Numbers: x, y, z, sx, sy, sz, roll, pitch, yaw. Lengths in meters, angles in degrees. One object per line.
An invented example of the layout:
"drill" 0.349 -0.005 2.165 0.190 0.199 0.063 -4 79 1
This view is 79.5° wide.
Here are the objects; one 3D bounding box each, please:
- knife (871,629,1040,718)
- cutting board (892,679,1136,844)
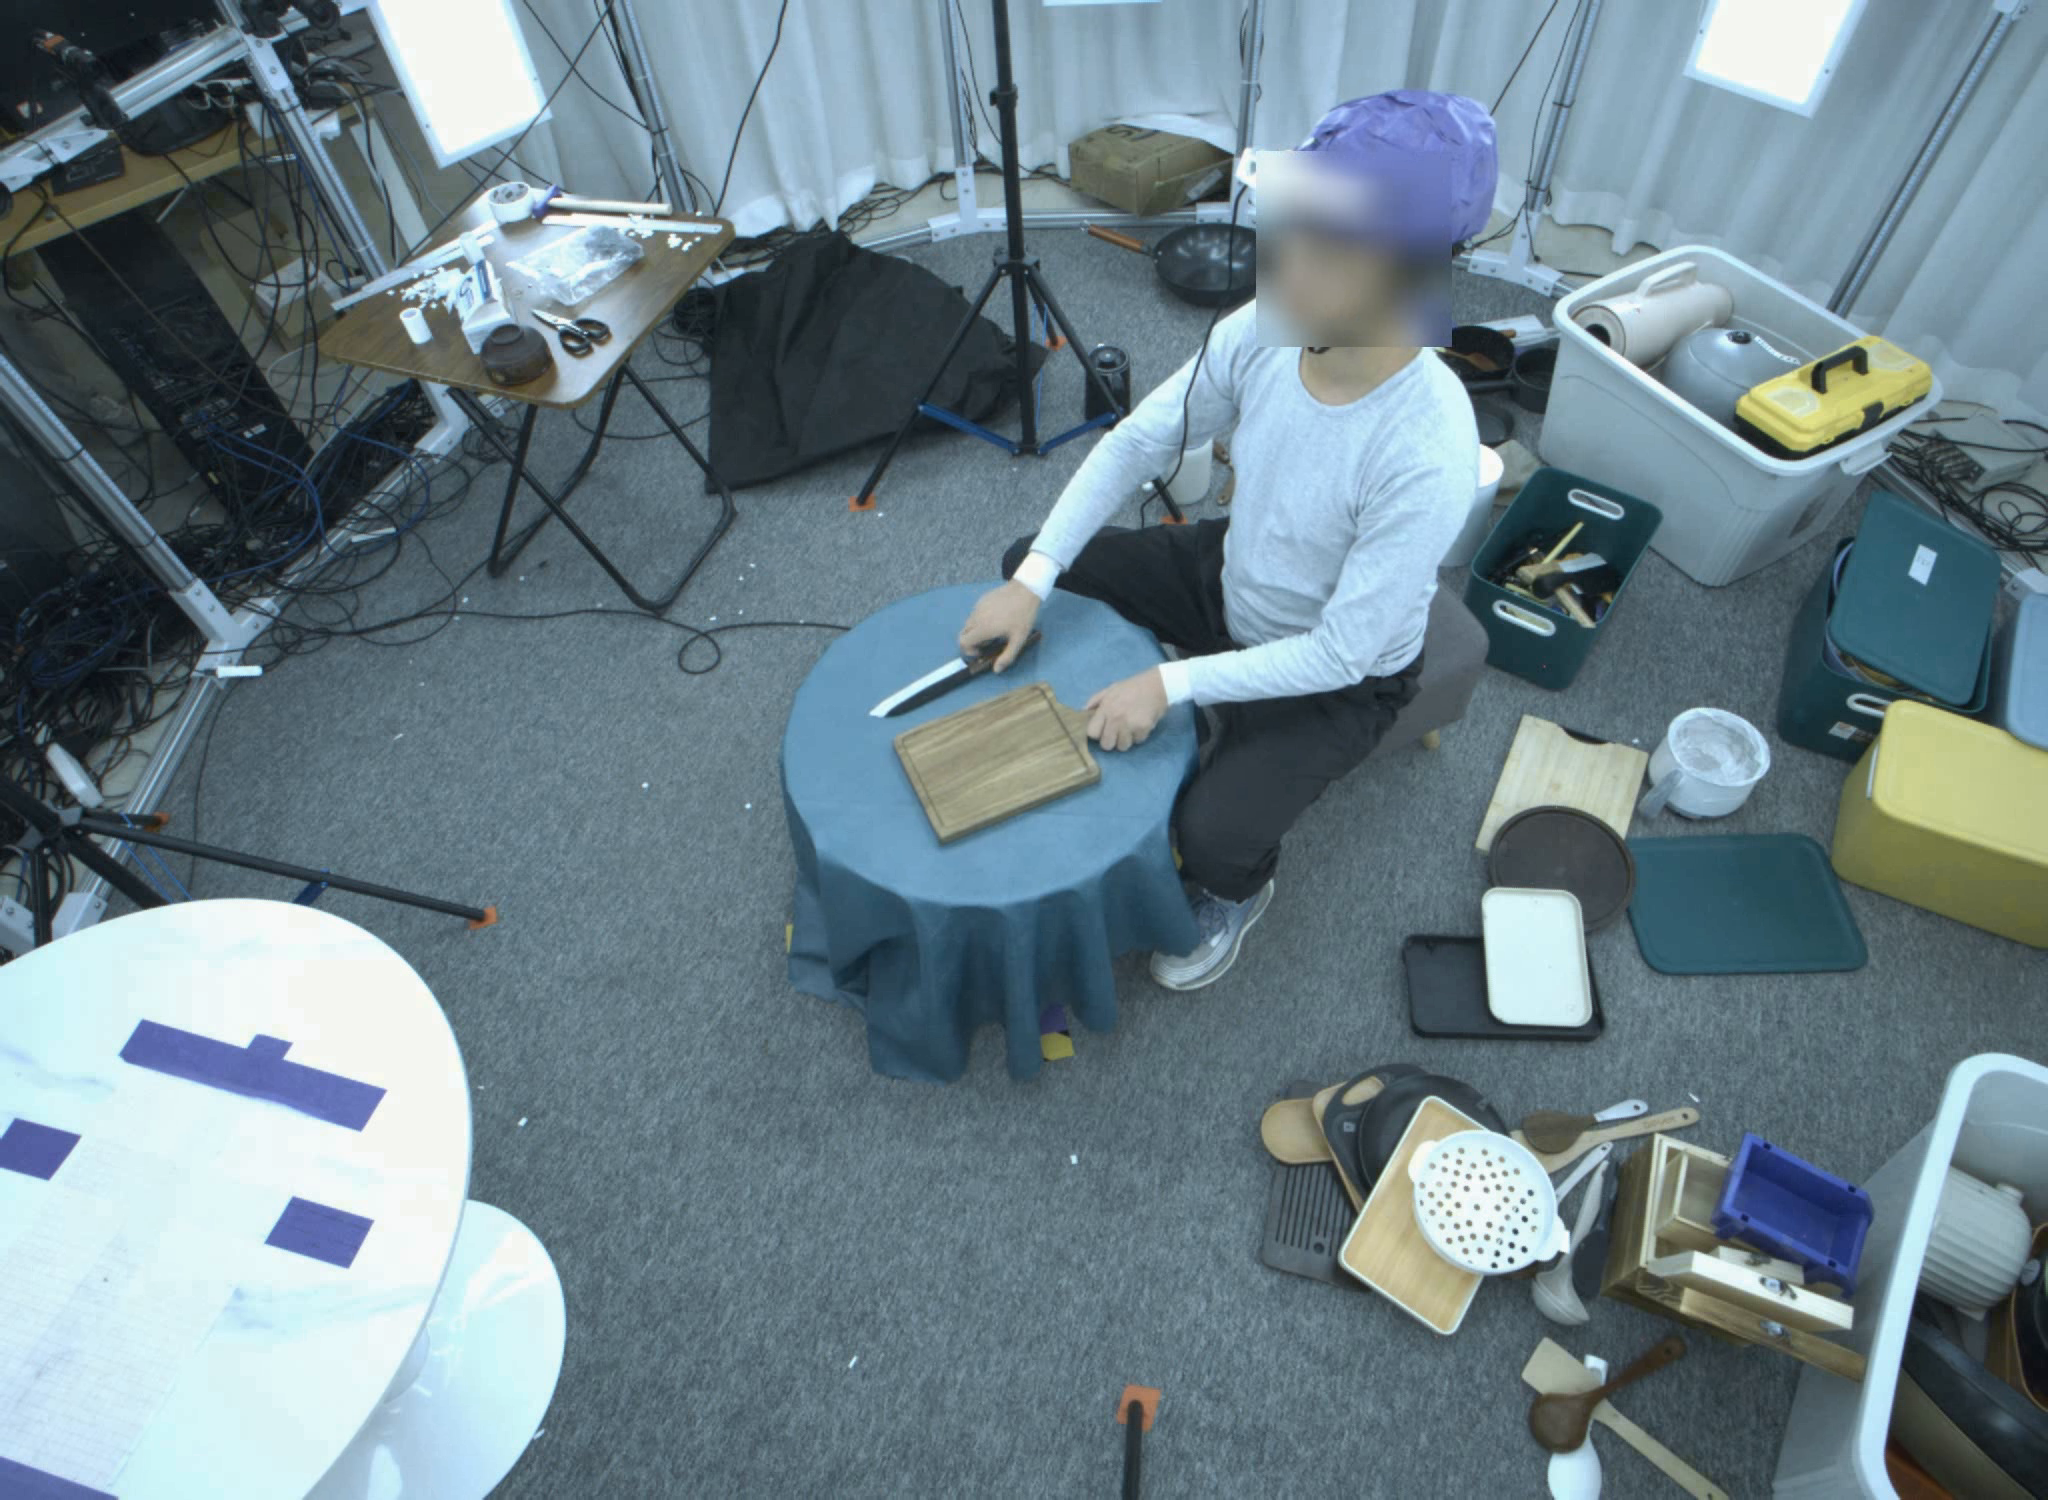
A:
"knife" -0.104 -0.116 1.872 0.291 0.020 0.049 -27 53 -14
"cutting board" 0.004 -0.006 1.787 0.355 0.023 0.197 -21 57 -13
